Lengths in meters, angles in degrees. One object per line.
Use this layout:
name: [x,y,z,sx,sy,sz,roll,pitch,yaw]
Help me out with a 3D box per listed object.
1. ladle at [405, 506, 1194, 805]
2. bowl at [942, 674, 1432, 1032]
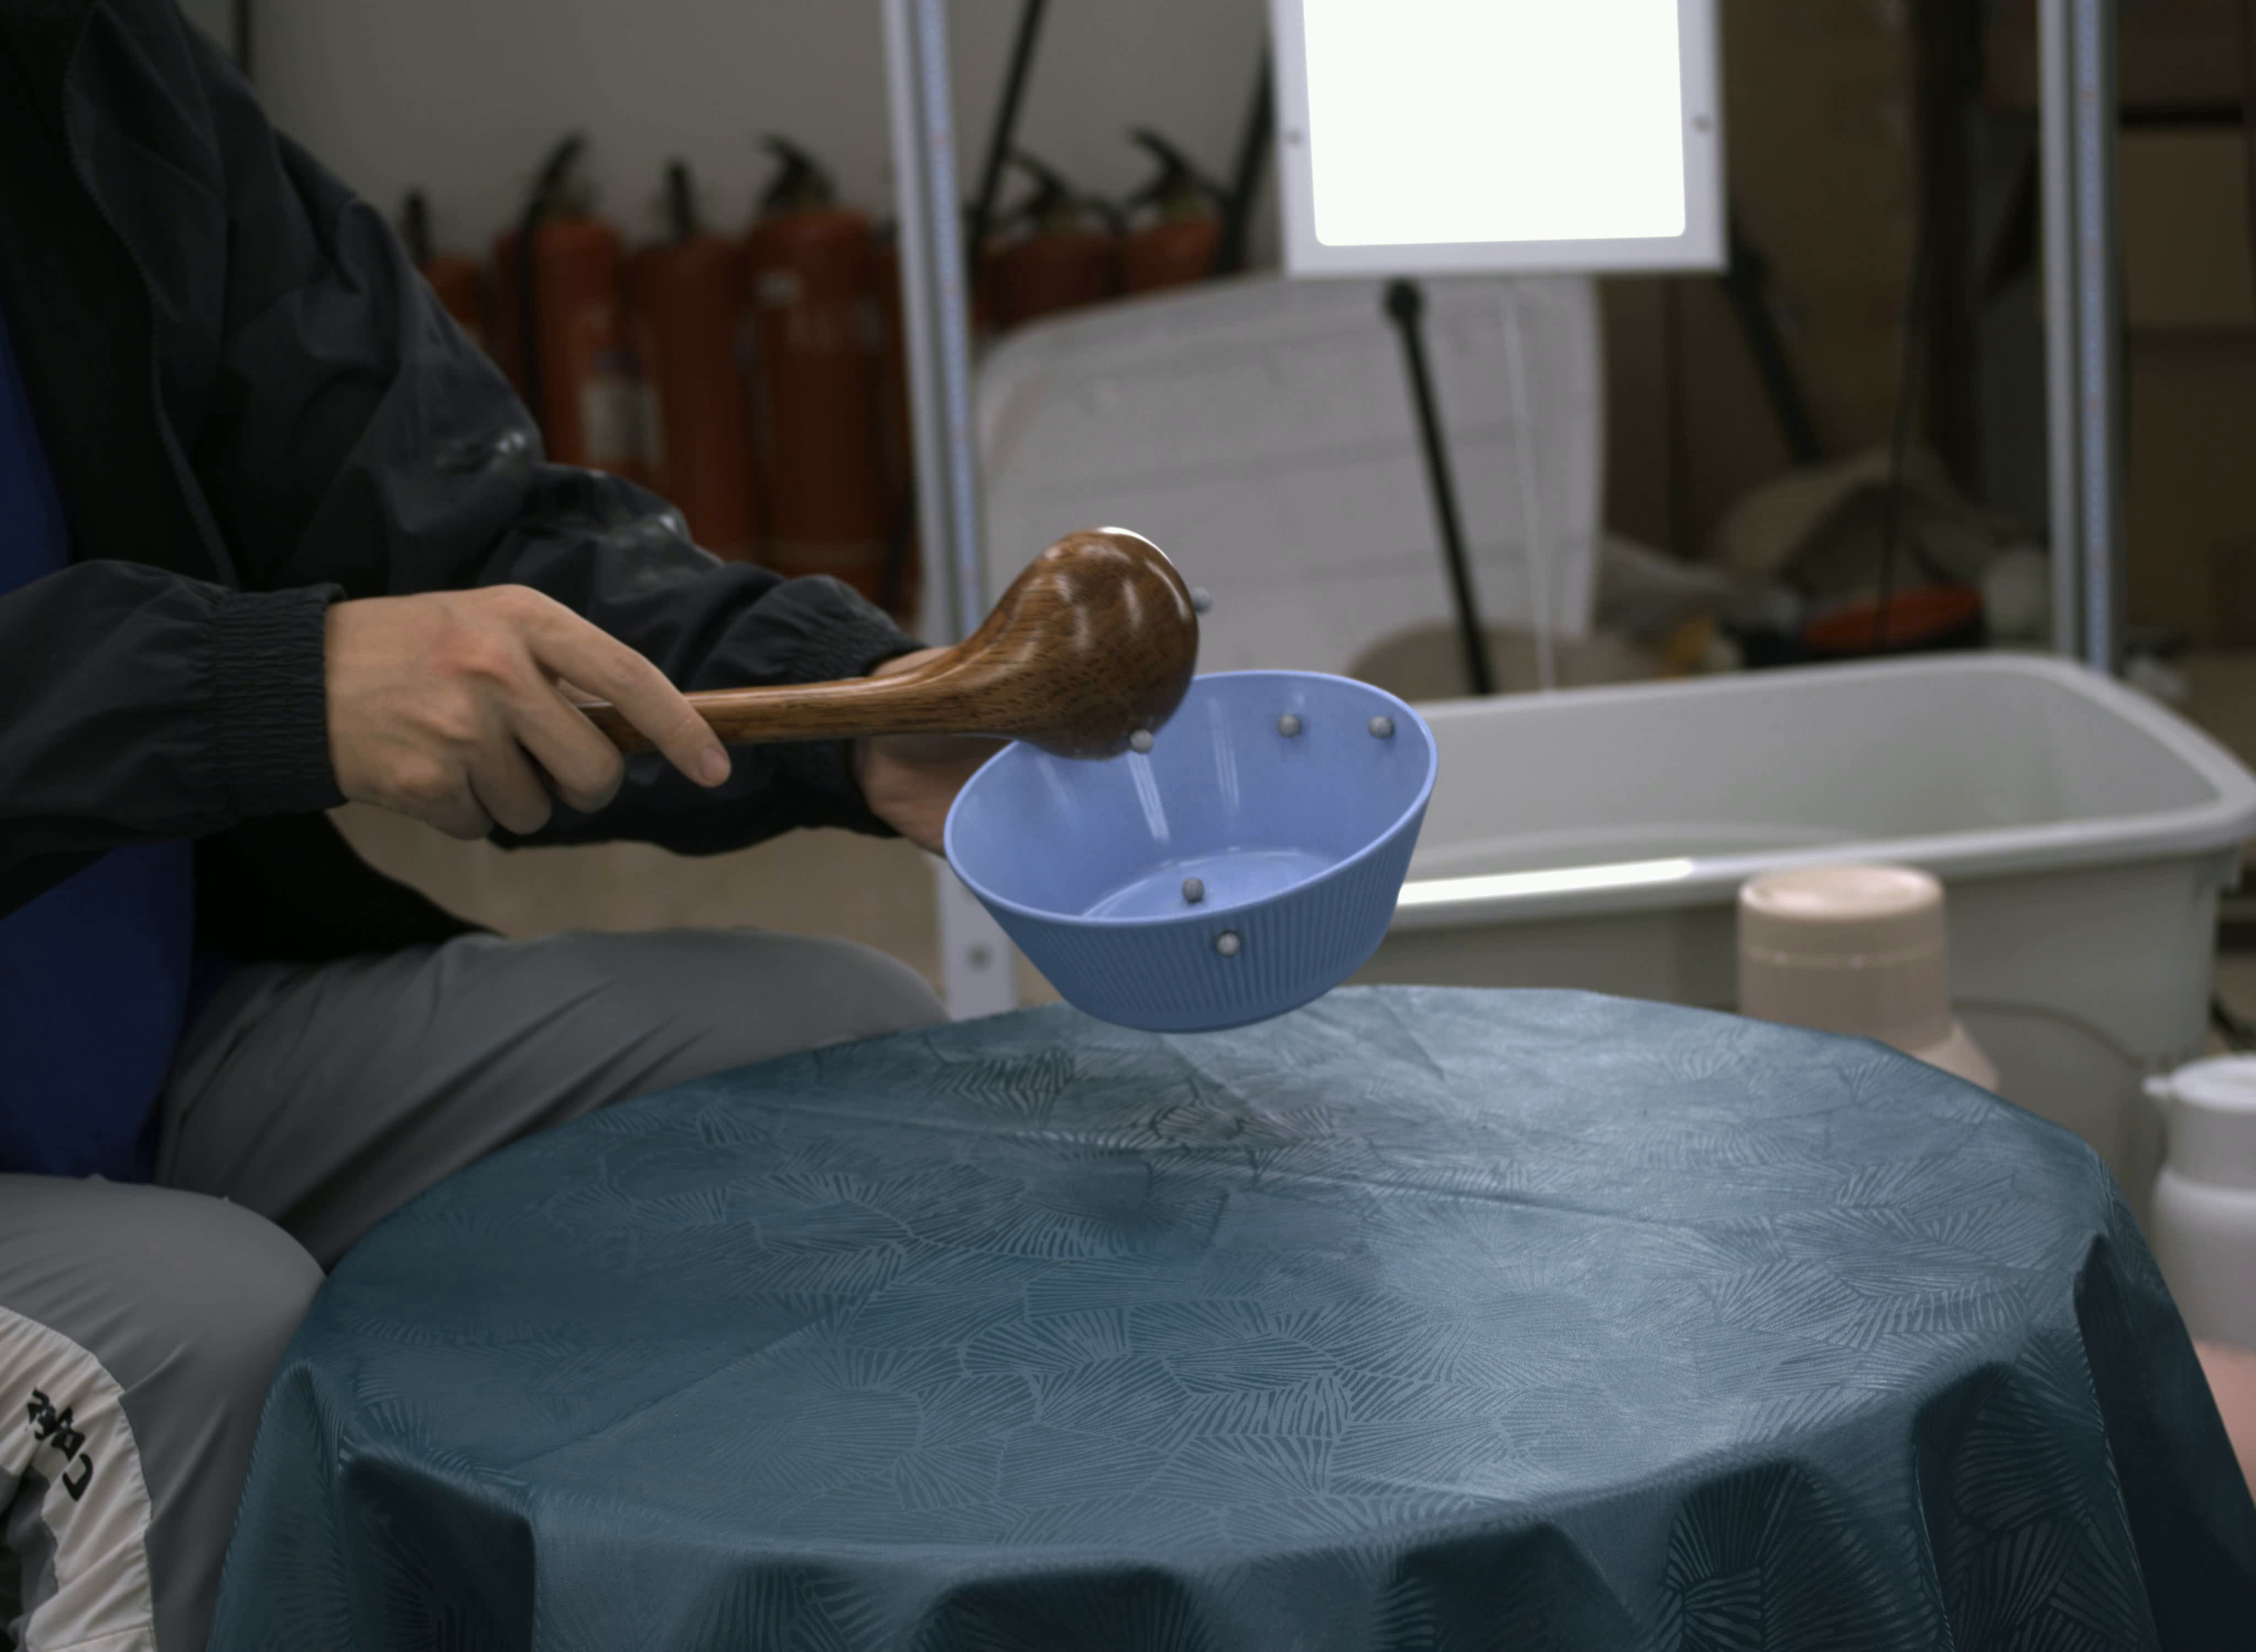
ladle: [-0.112,-0.052,1.888,0.277,0.082,0.075,-8,20,20]
bowl: [0.026,0.016,1.934,0.176,0.070,0.175,-12,28,5]
